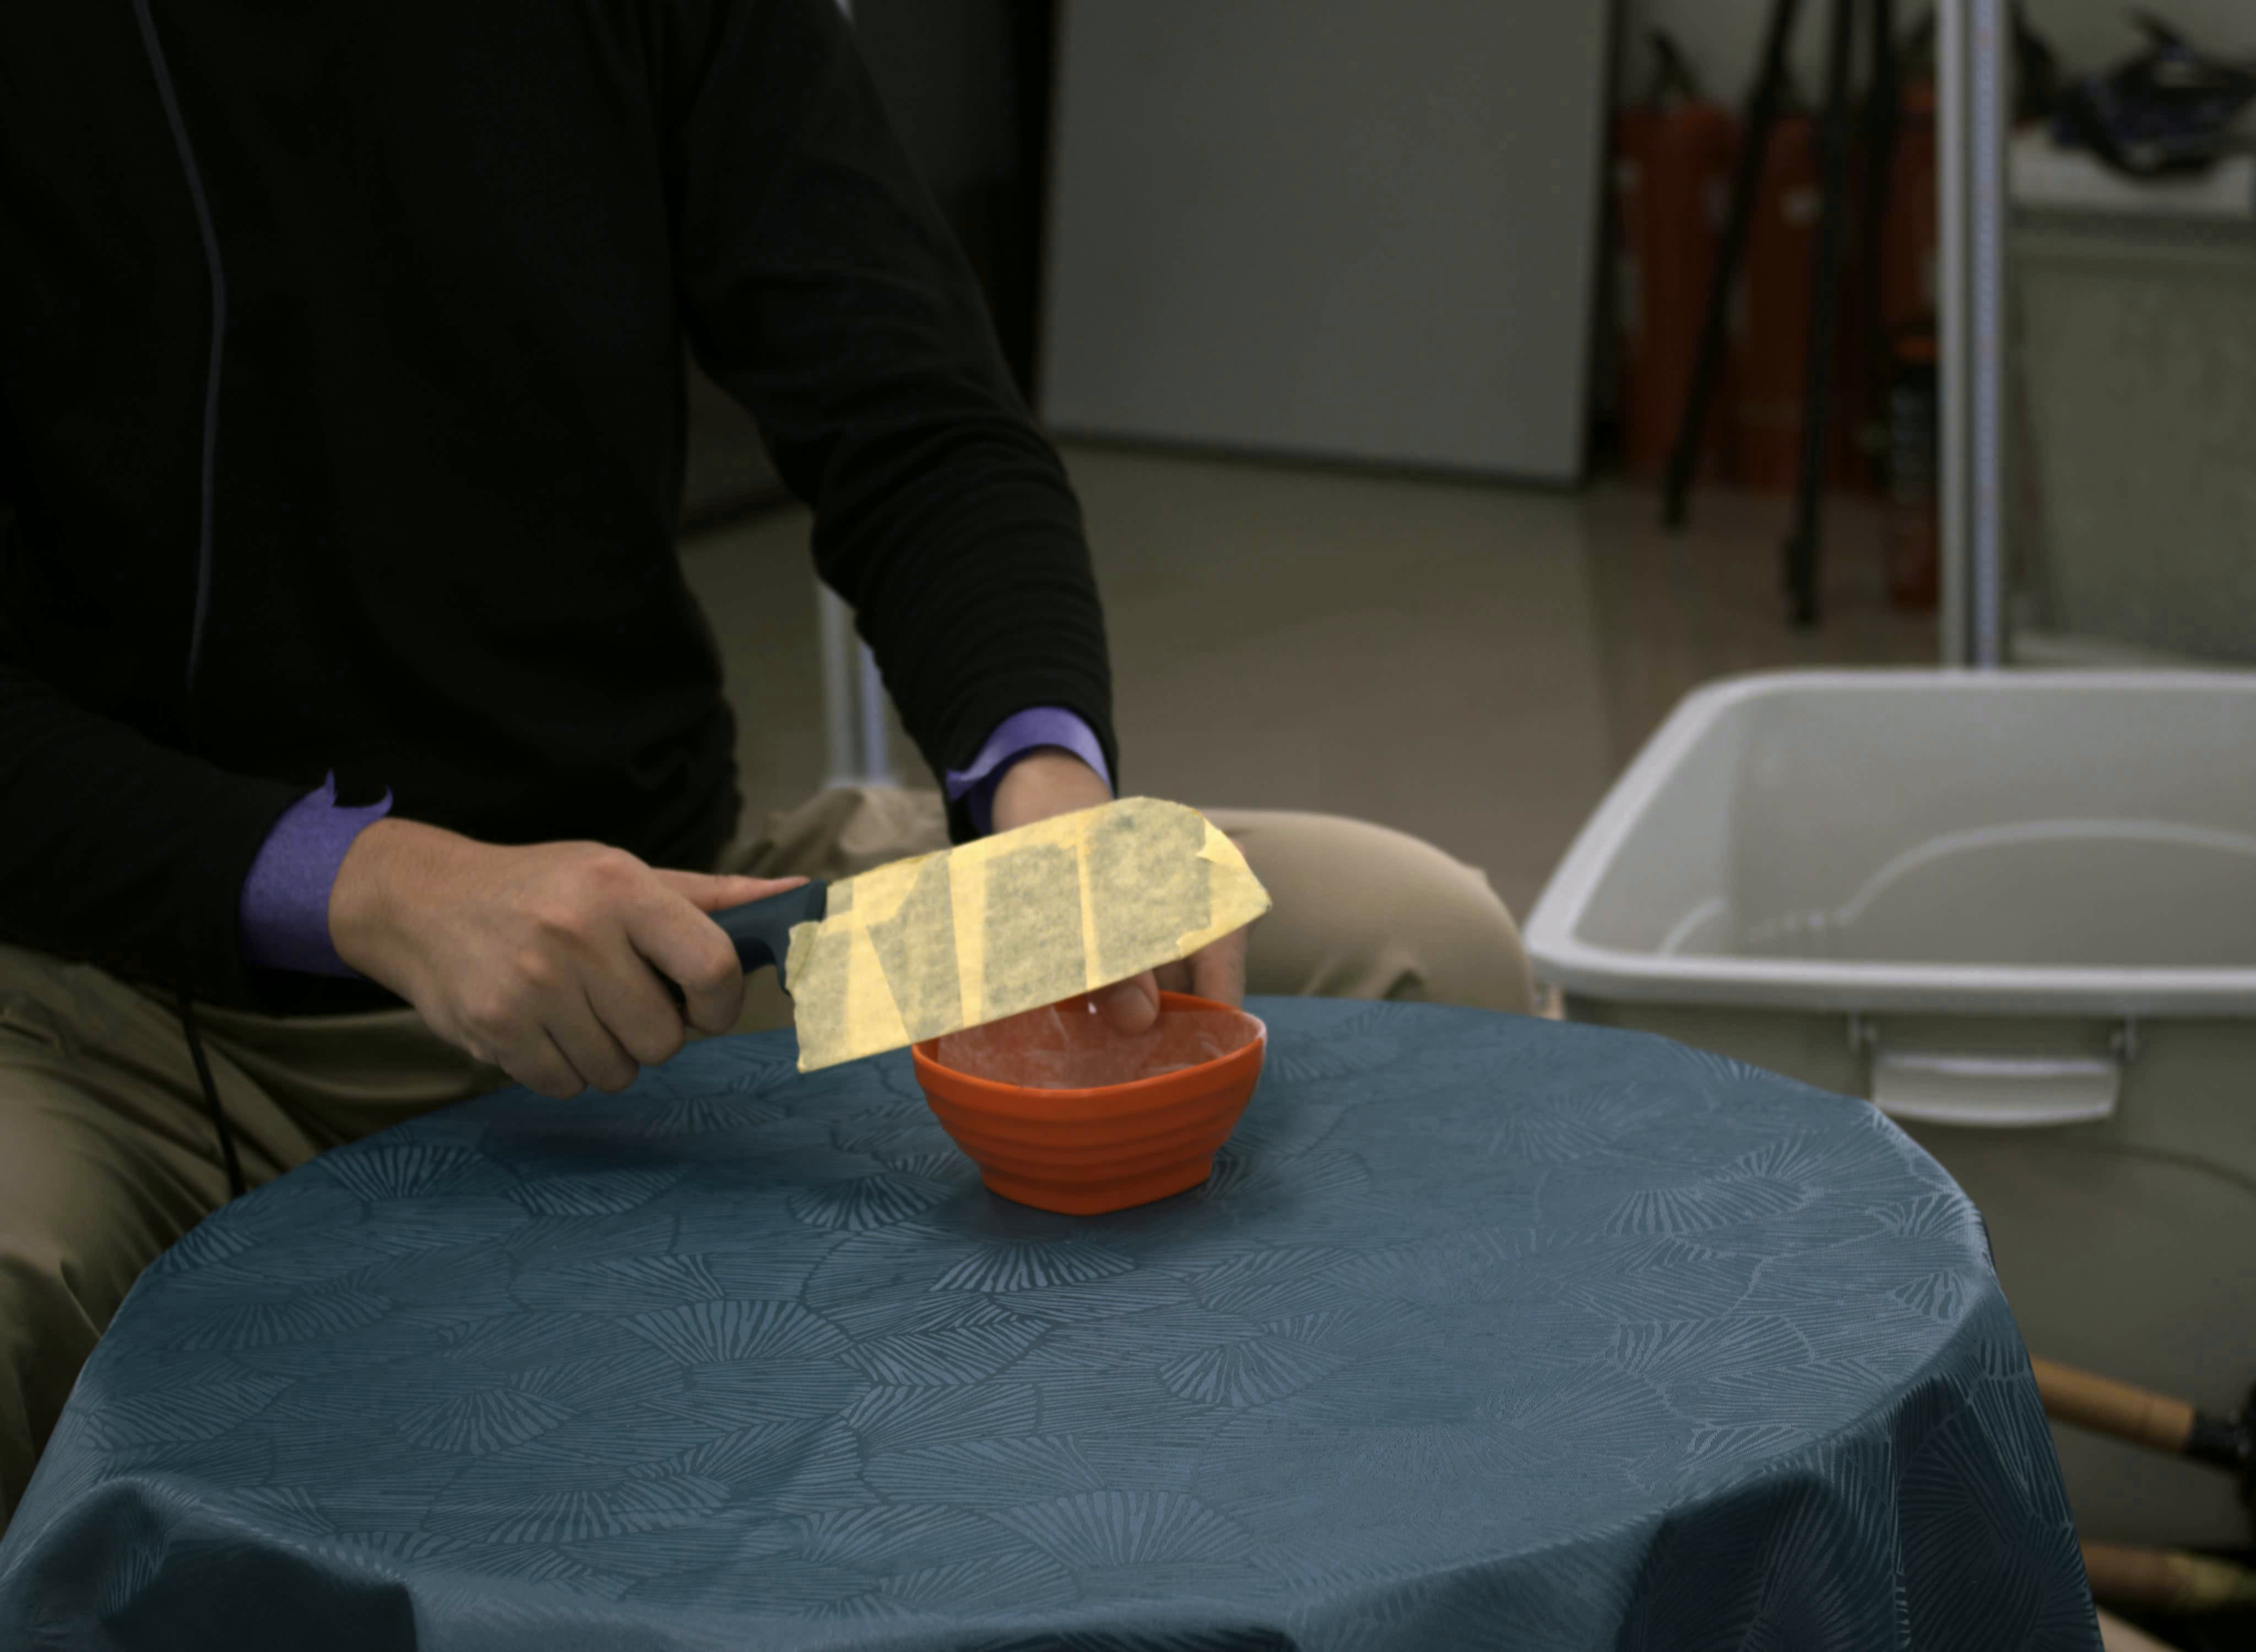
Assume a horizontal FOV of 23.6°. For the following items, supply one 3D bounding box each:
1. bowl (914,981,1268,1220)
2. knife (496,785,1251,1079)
[{"bbox_3d":[-0.011,0.093,1.782,0.117,0.052,0.119,-5,16,0],"label":"bowl"},{"bbox_3d":[-0.088,0.047,1.815,0.289,0.027,0.082,-17,51,22],"label":"knife"}]
